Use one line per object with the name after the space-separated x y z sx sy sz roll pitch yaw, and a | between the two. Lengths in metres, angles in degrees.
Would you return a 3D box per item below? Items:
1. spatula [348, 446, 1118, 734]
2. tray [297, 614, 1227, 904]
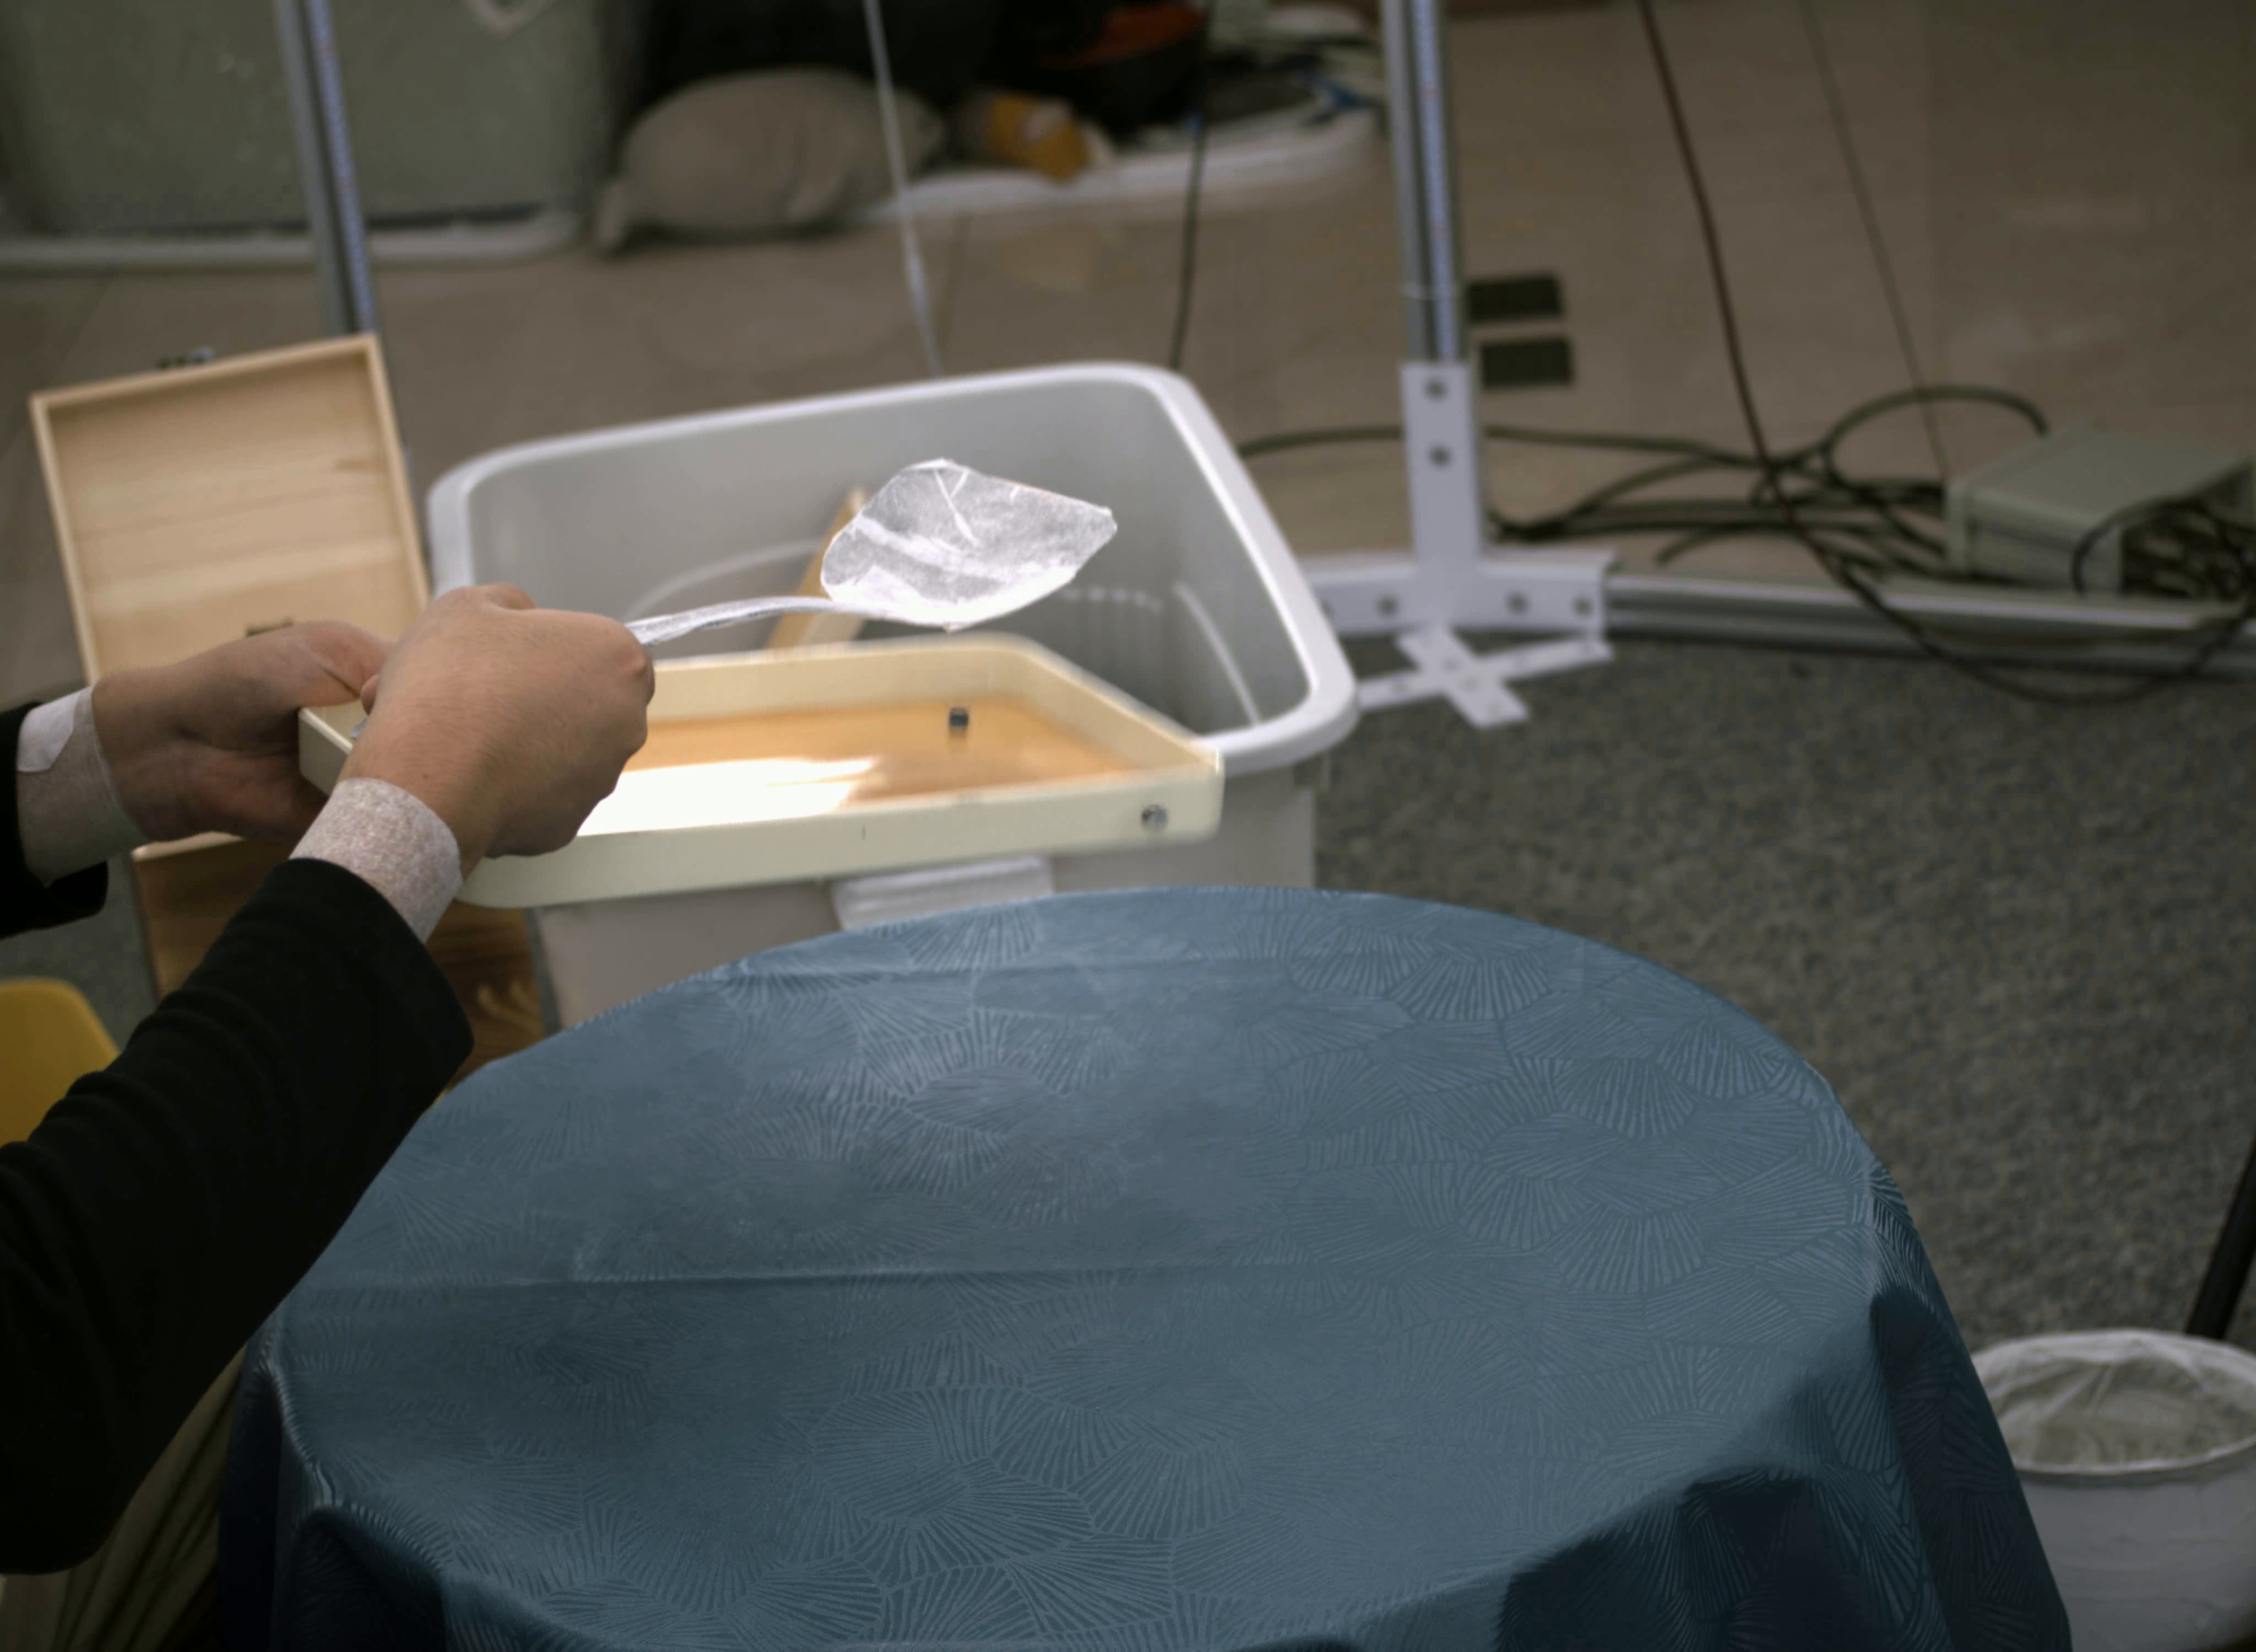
-0.137 -0.080 1.947 0.098 0.045 0.363 20 21 30 | spatula
-0.134 -0.027 2.060 0.299 0.028 0.189 -8 20 -26 | tray
